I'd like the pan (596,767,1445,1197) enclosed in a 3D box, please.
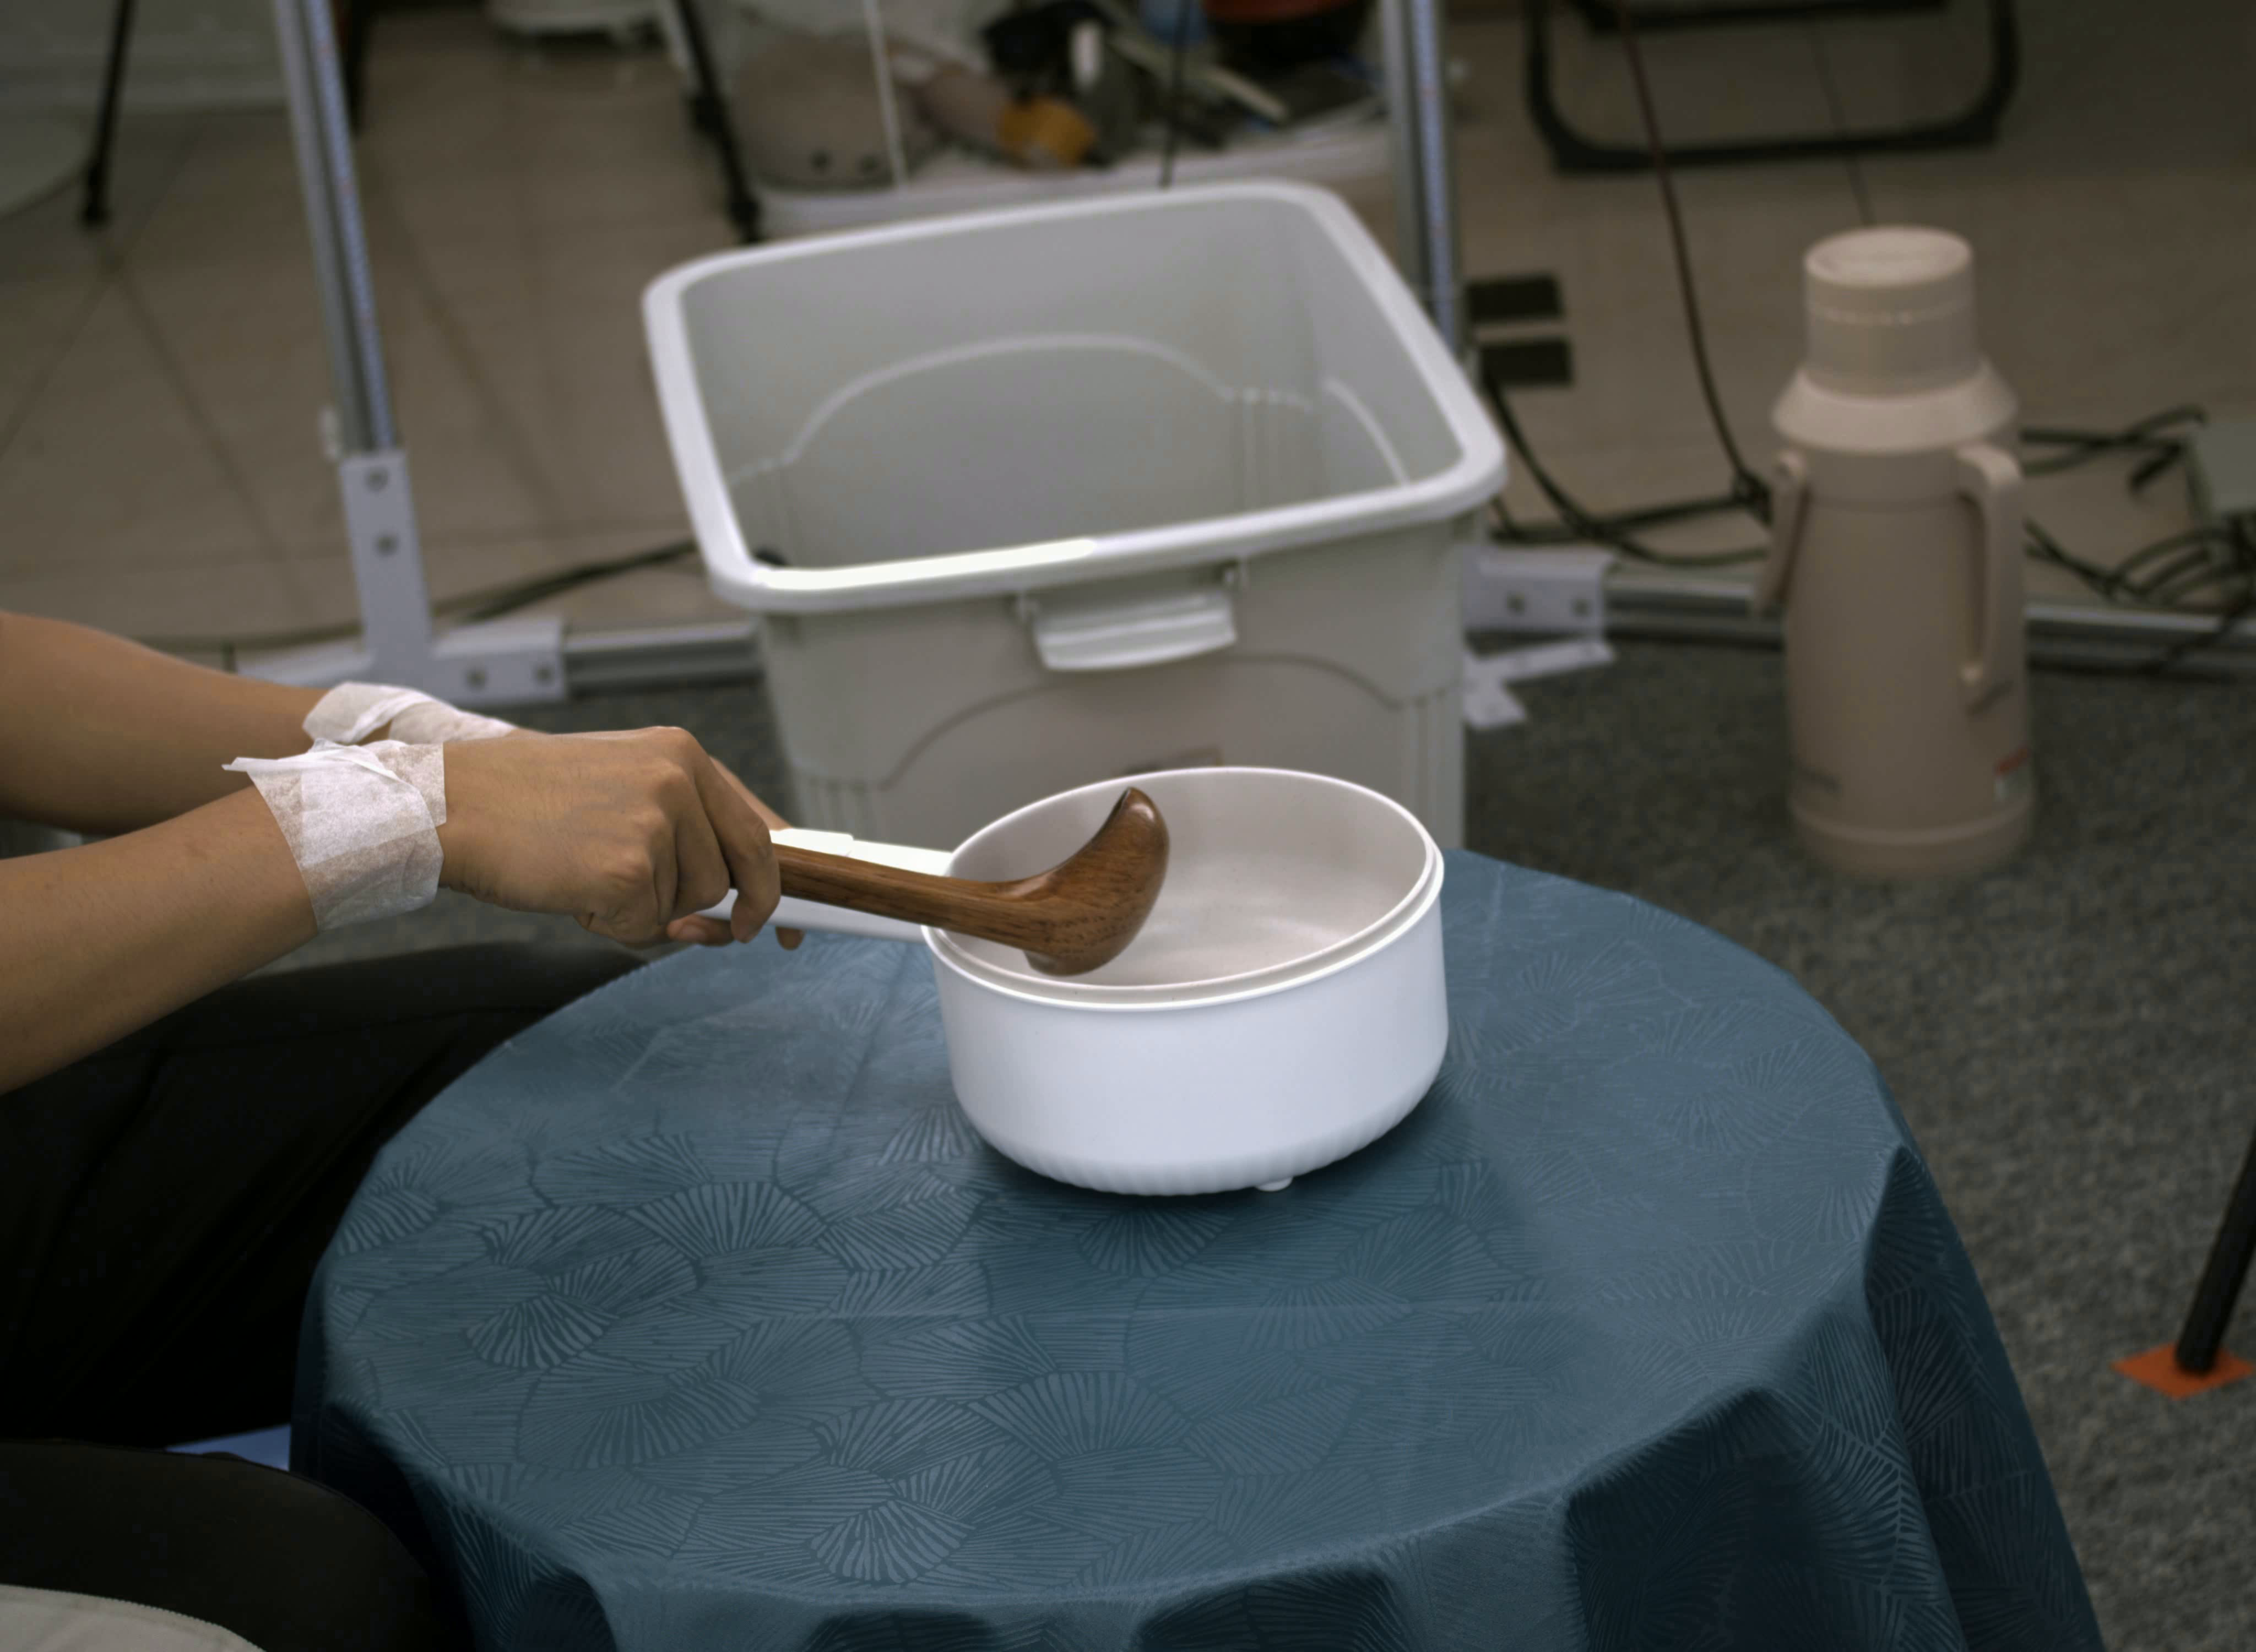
[{"bbox_3d":[-0.045,0.057,2.219,0.353,0.104,0.198,6,28,26],"label":"pan"}]

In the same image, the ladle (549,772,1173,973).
[{"bbox_3d":[-0.100,0.009,2.127,0.274,0.083,0.075,7,25,-30],"label":"ladle"}]
